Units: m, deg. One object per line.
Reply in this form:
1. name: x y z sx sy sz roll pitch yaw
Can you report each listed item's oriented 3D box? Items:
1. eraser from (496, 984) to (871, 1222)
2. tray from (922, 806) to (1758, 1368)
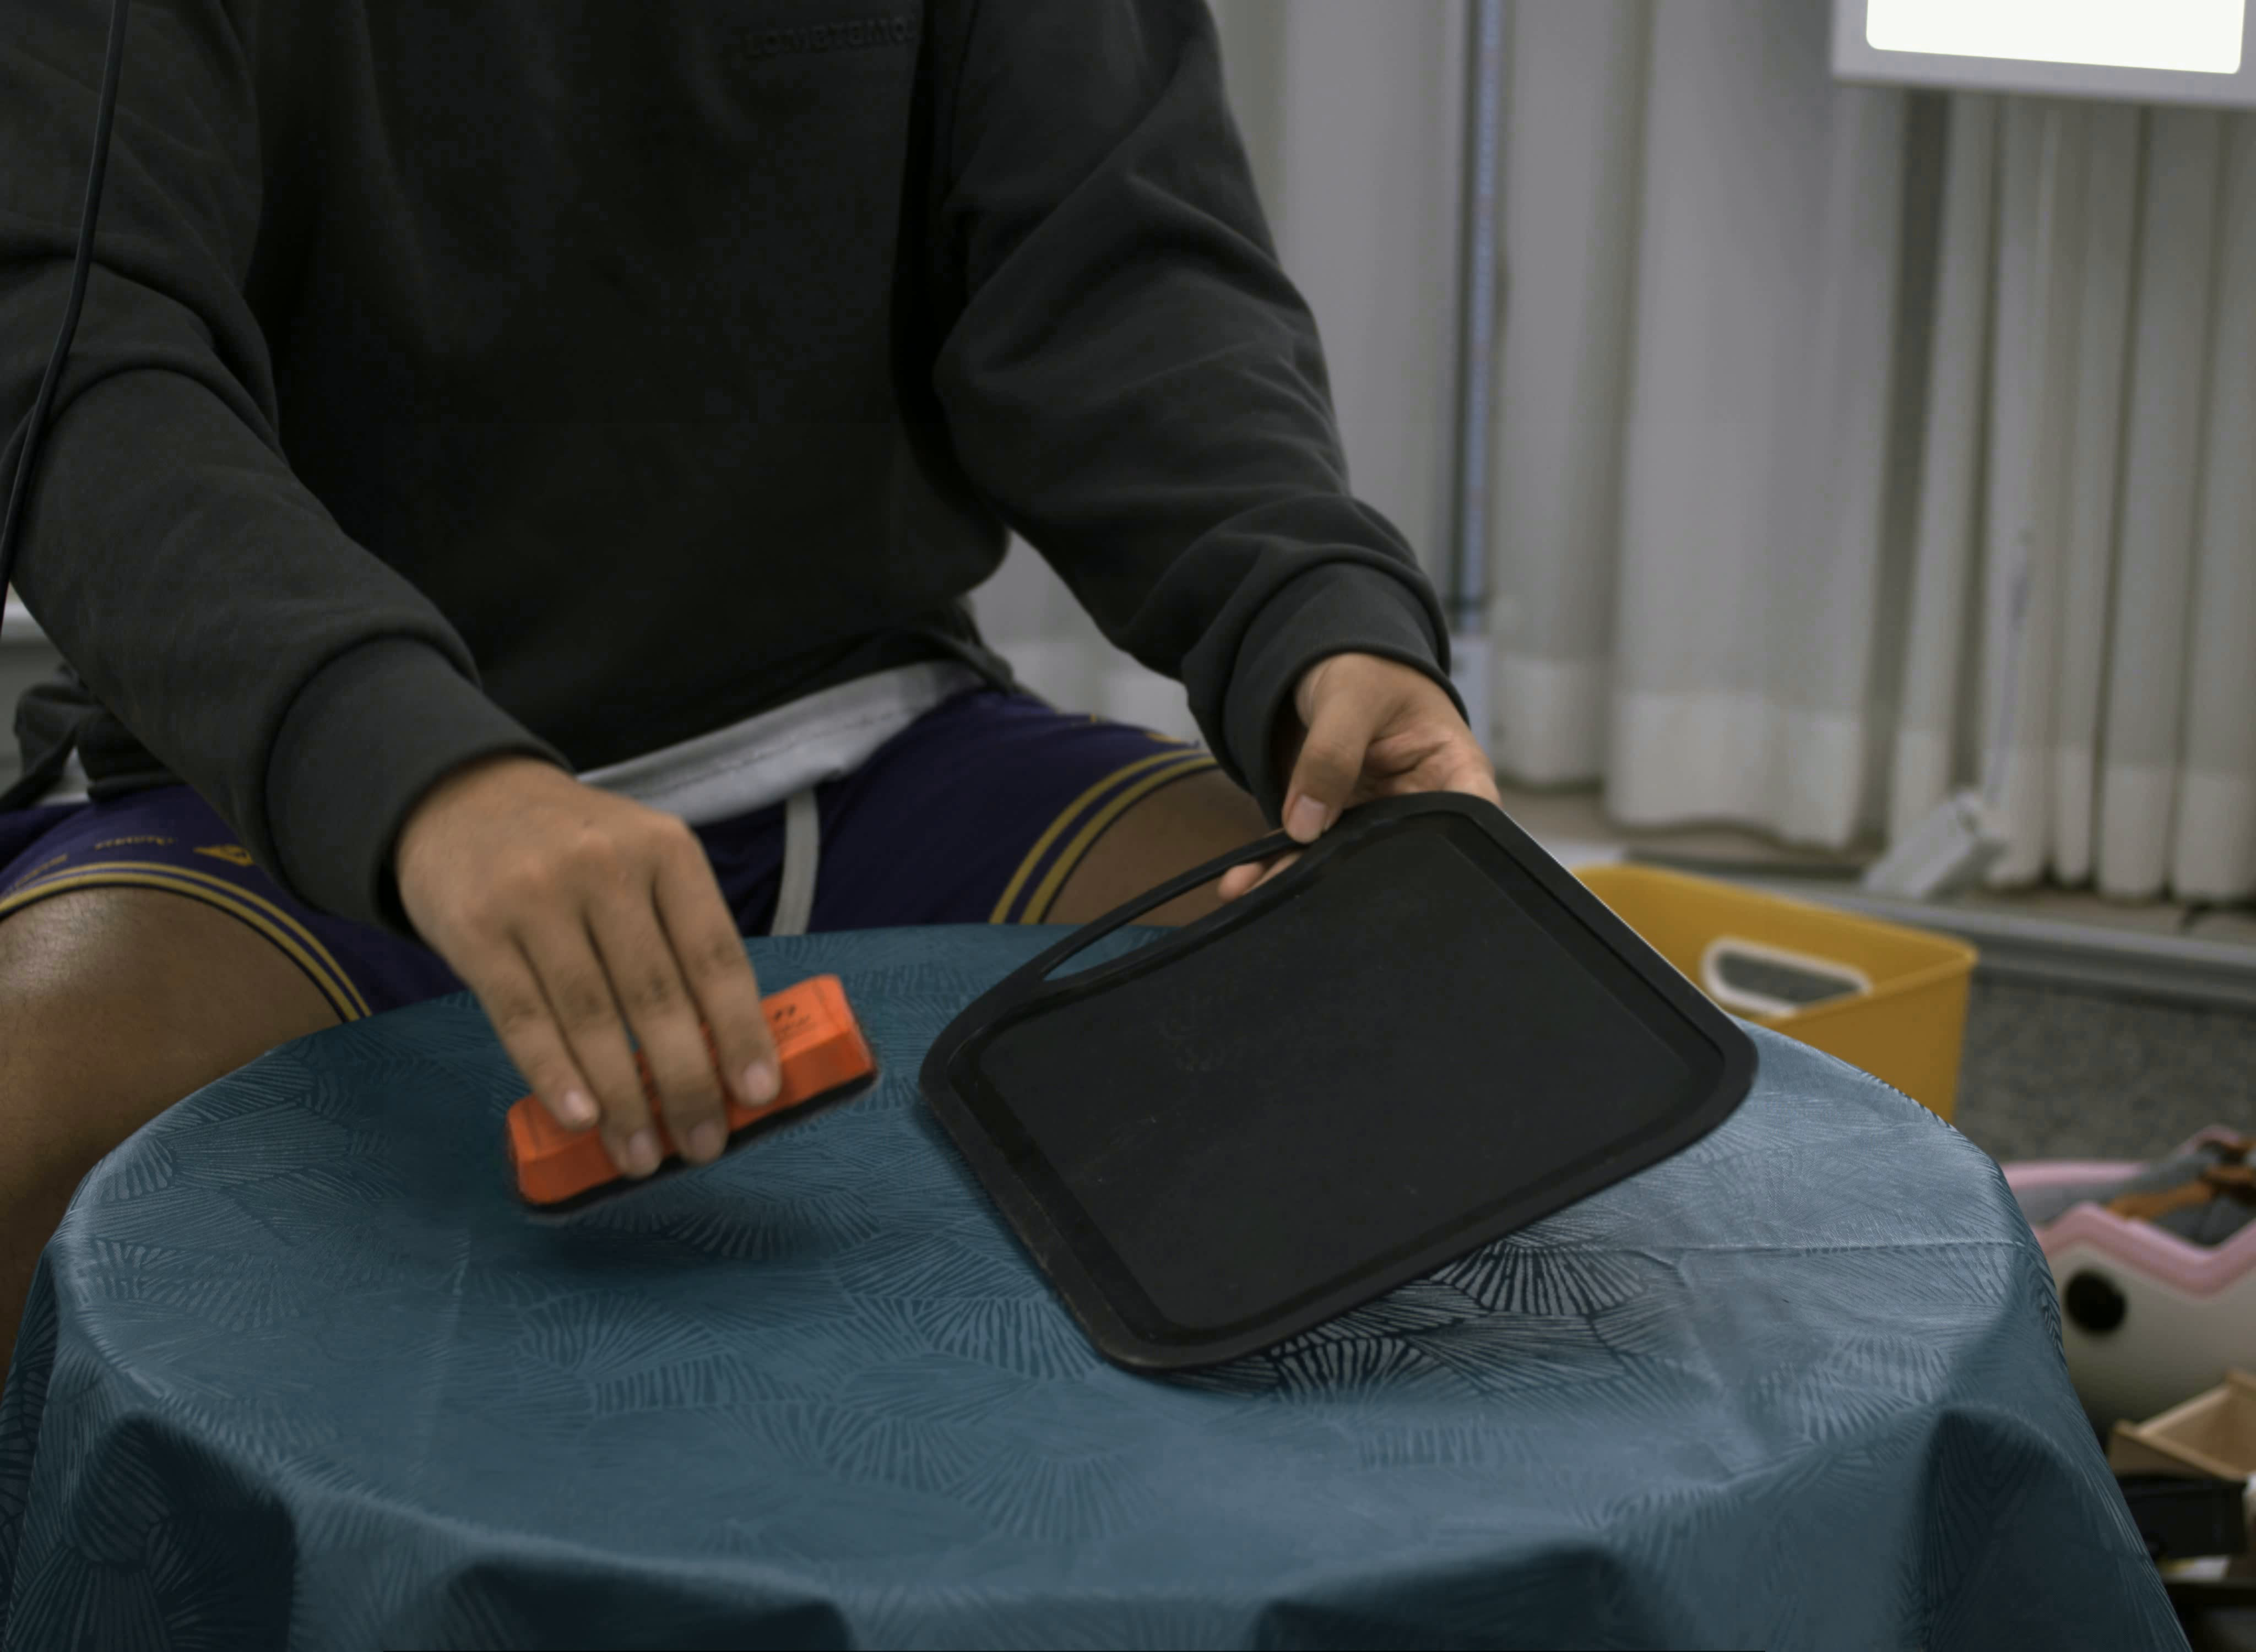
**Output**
1. eraser: -0.132 0.082 1.562 0.108 0.023 0.058 -21 20 -7
2. tray: 0.053 0.070 1.610 0.211 0.010 0.322 -24 23 -7
